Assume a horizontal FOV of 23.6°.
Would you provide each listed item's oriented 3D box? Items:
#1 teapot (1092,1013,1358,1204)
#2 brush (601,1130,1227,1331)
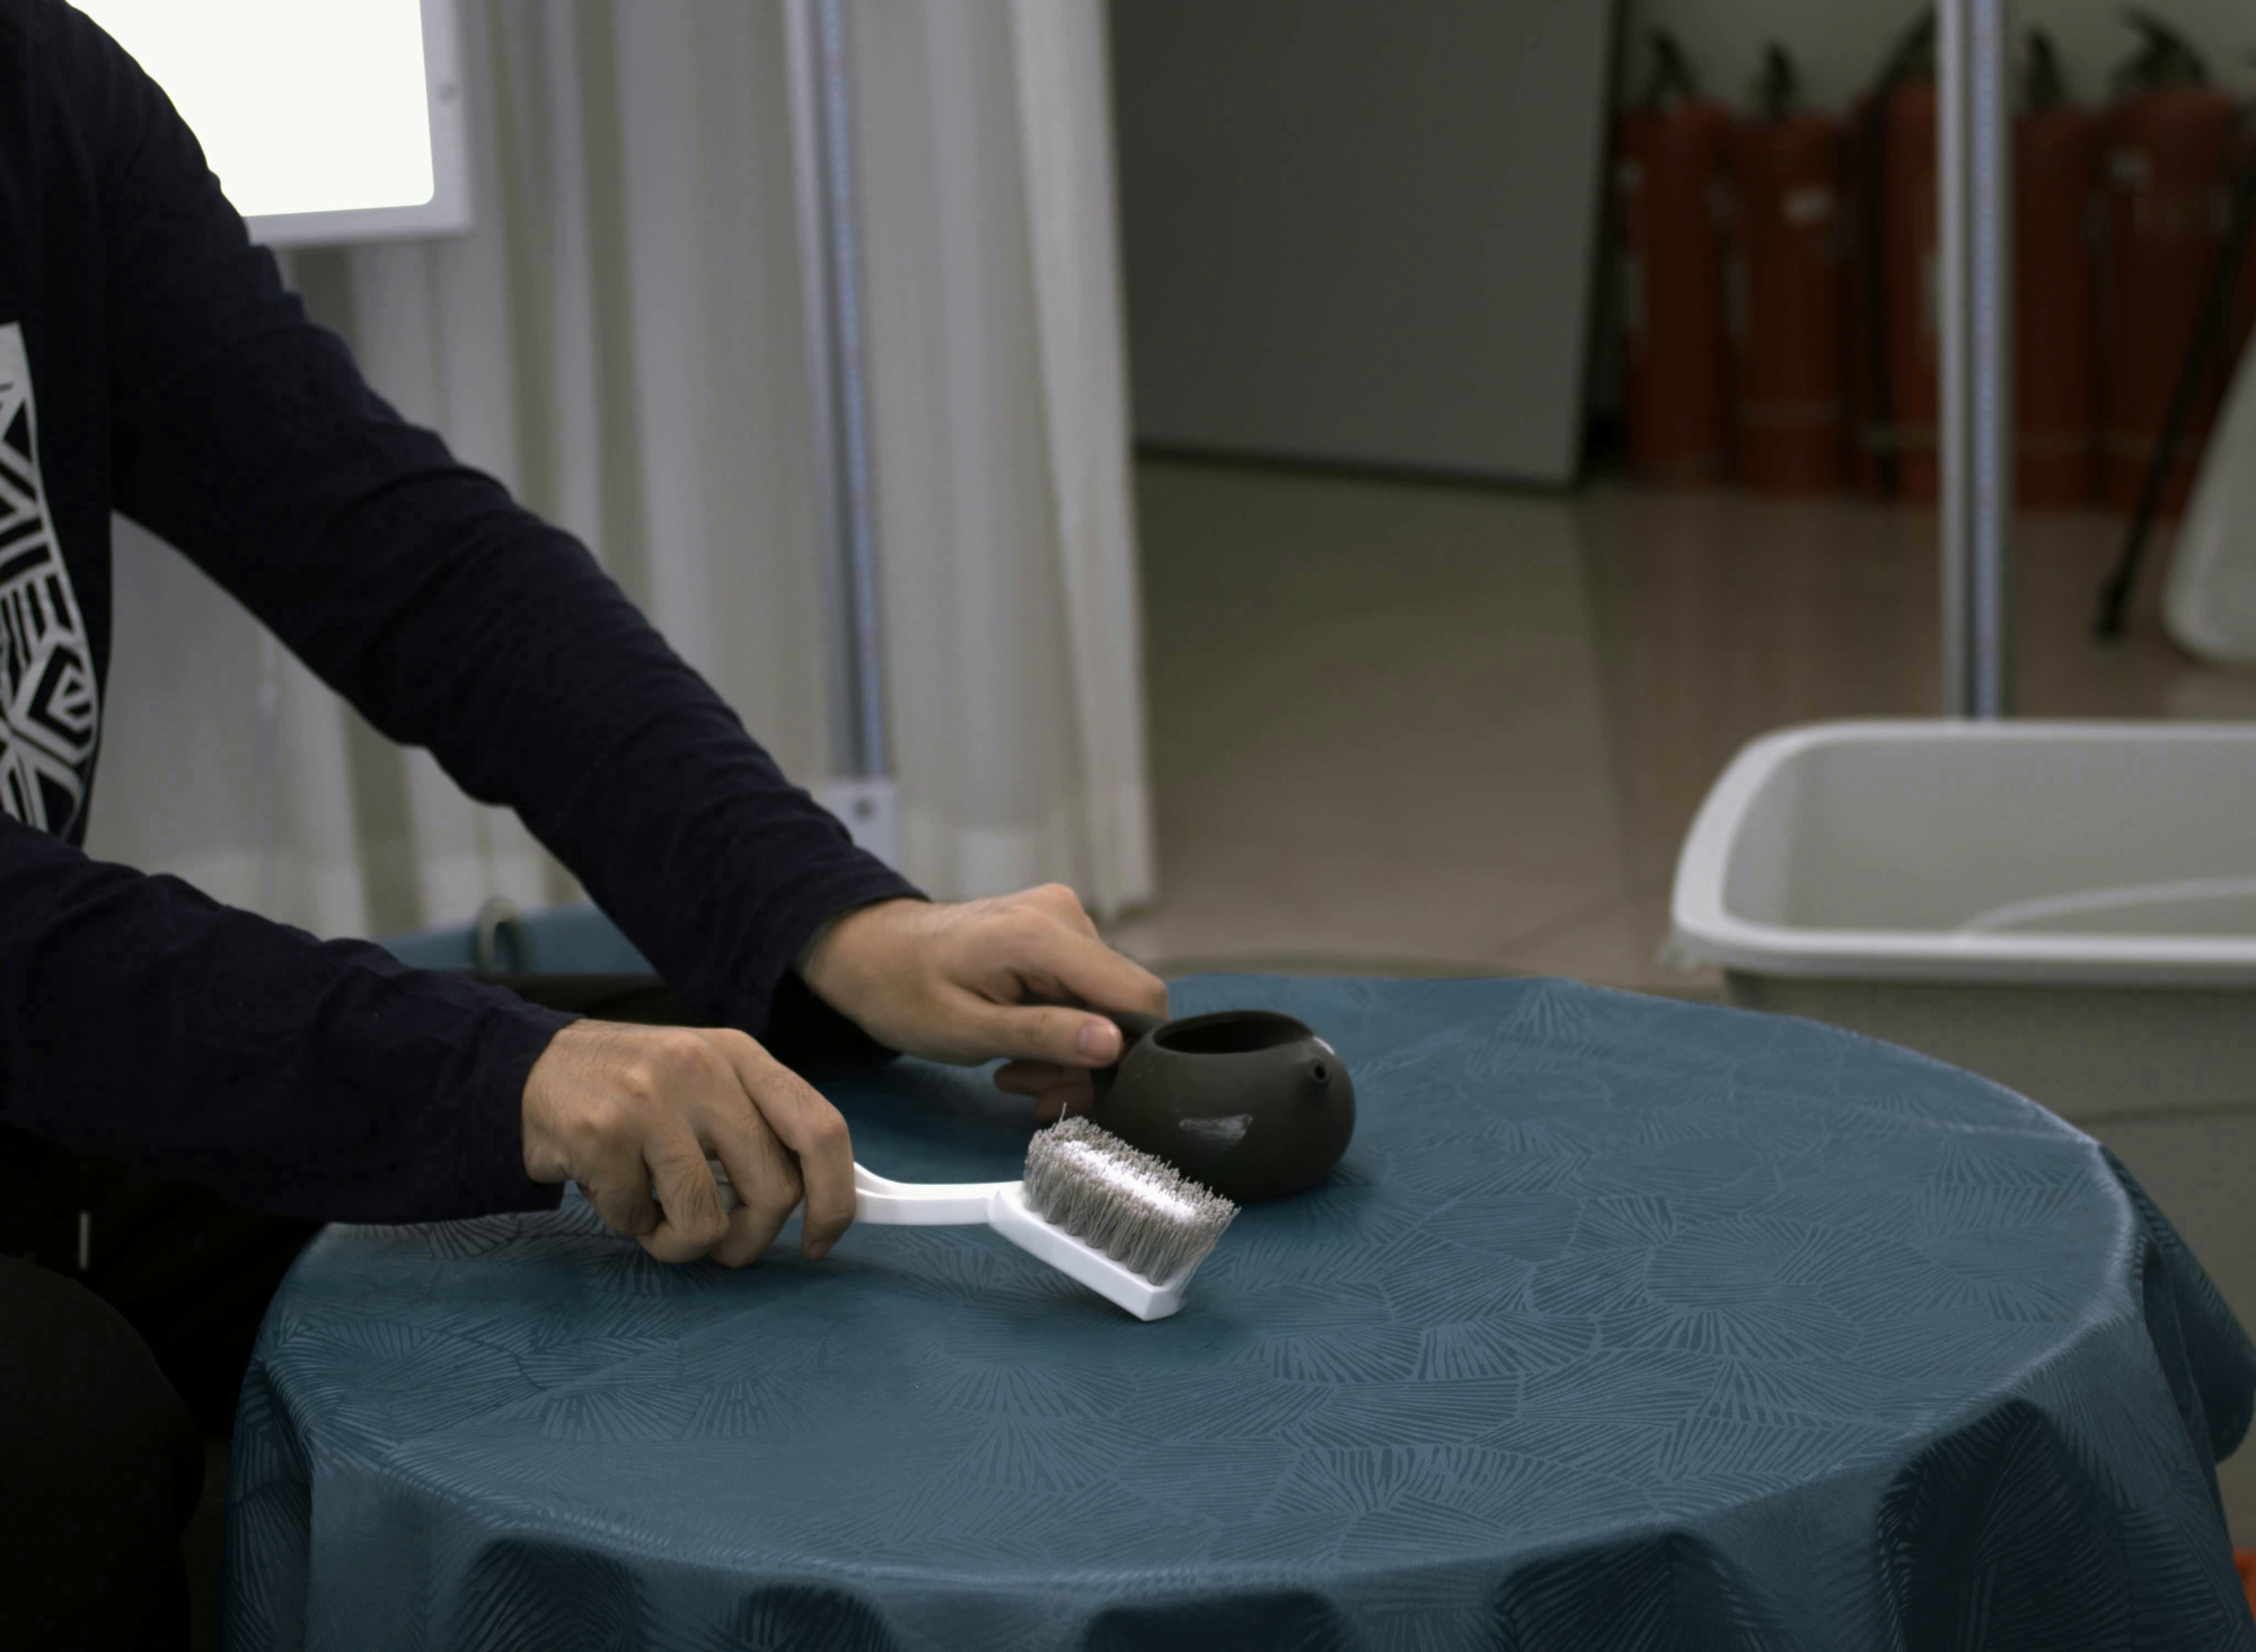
[{"bbox_3d":[0.027,0.091,1.785,0.081,0.053,0.115,-16,18,-38],"label":"teapot"},{"bbox_3d":[-0.073,0.109,1.709,0.245,0.051,0.034,13,25,35],"label":"brush"}]
